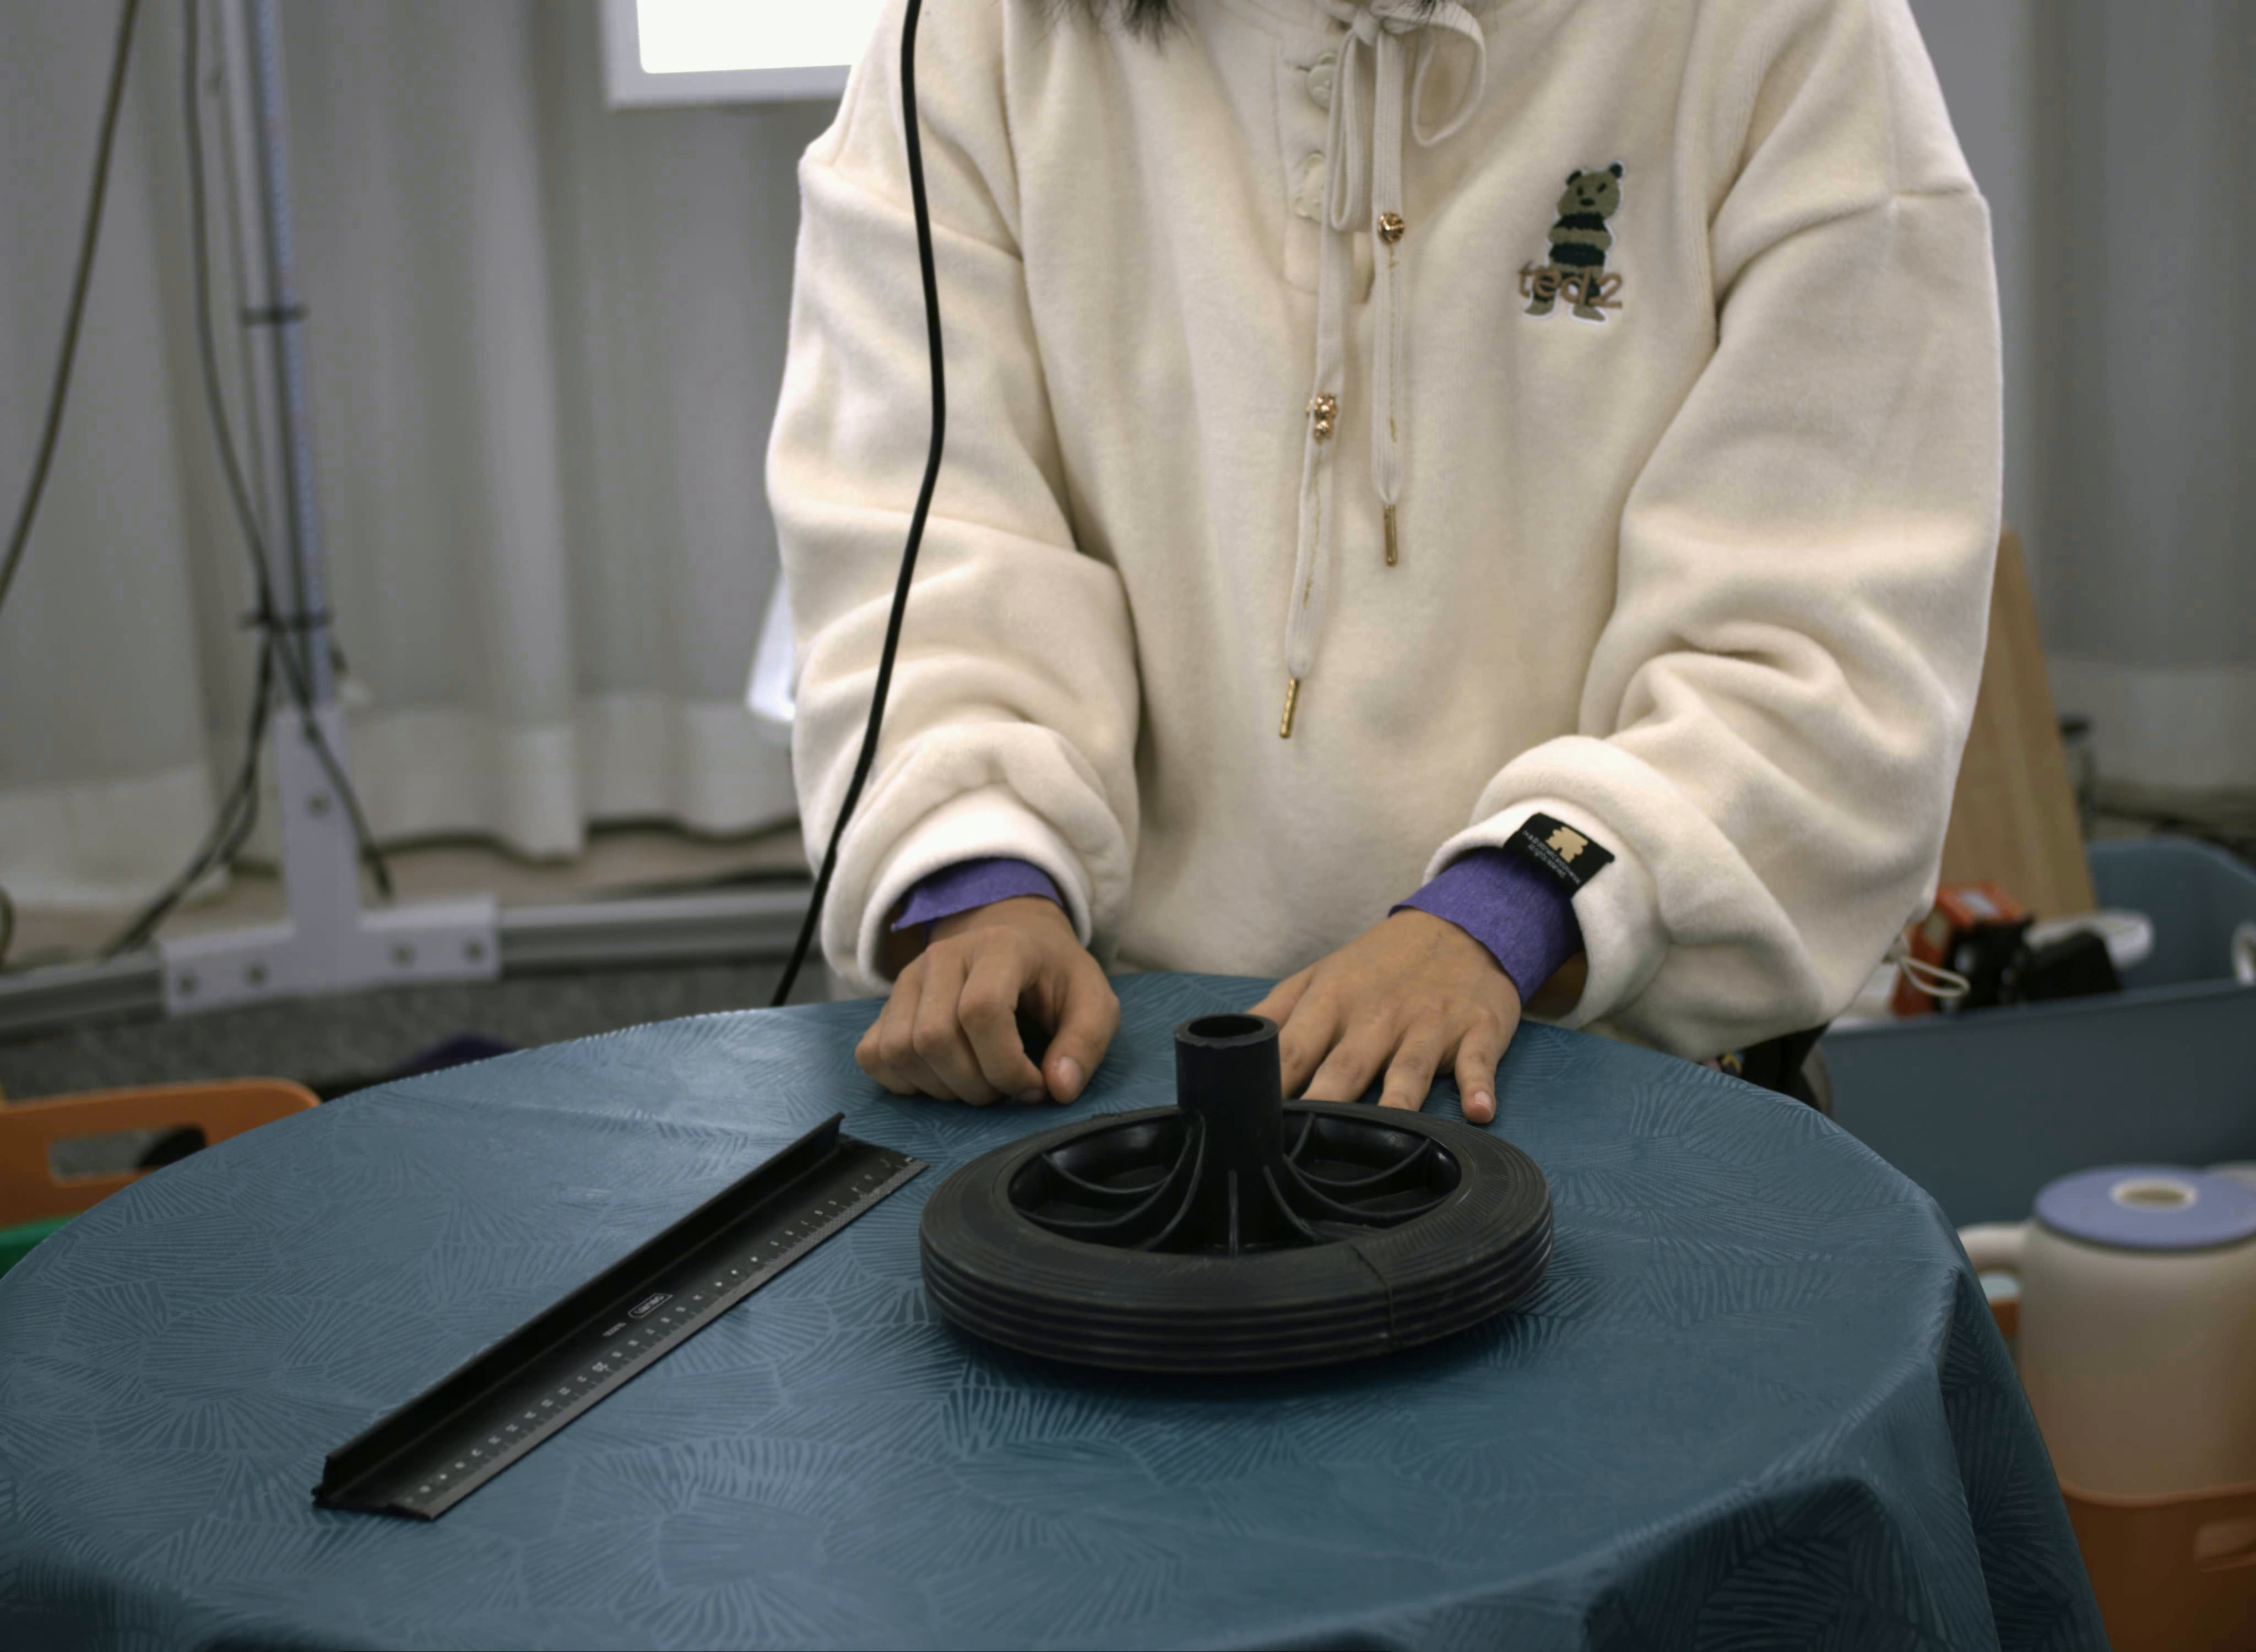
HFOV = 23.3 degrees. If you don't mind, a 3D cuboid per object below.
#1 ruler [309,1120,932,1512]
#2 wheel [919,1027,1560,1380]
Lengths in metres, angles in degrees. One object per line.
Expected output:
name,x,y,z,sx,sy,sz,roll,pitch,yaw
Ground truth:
ruler,-0.143,0.140,1.615,0.039,0.017,0.313,8,17,24
wheel,0.032,0.102,1.610,0.189,0.079,0.188,0,15,10
